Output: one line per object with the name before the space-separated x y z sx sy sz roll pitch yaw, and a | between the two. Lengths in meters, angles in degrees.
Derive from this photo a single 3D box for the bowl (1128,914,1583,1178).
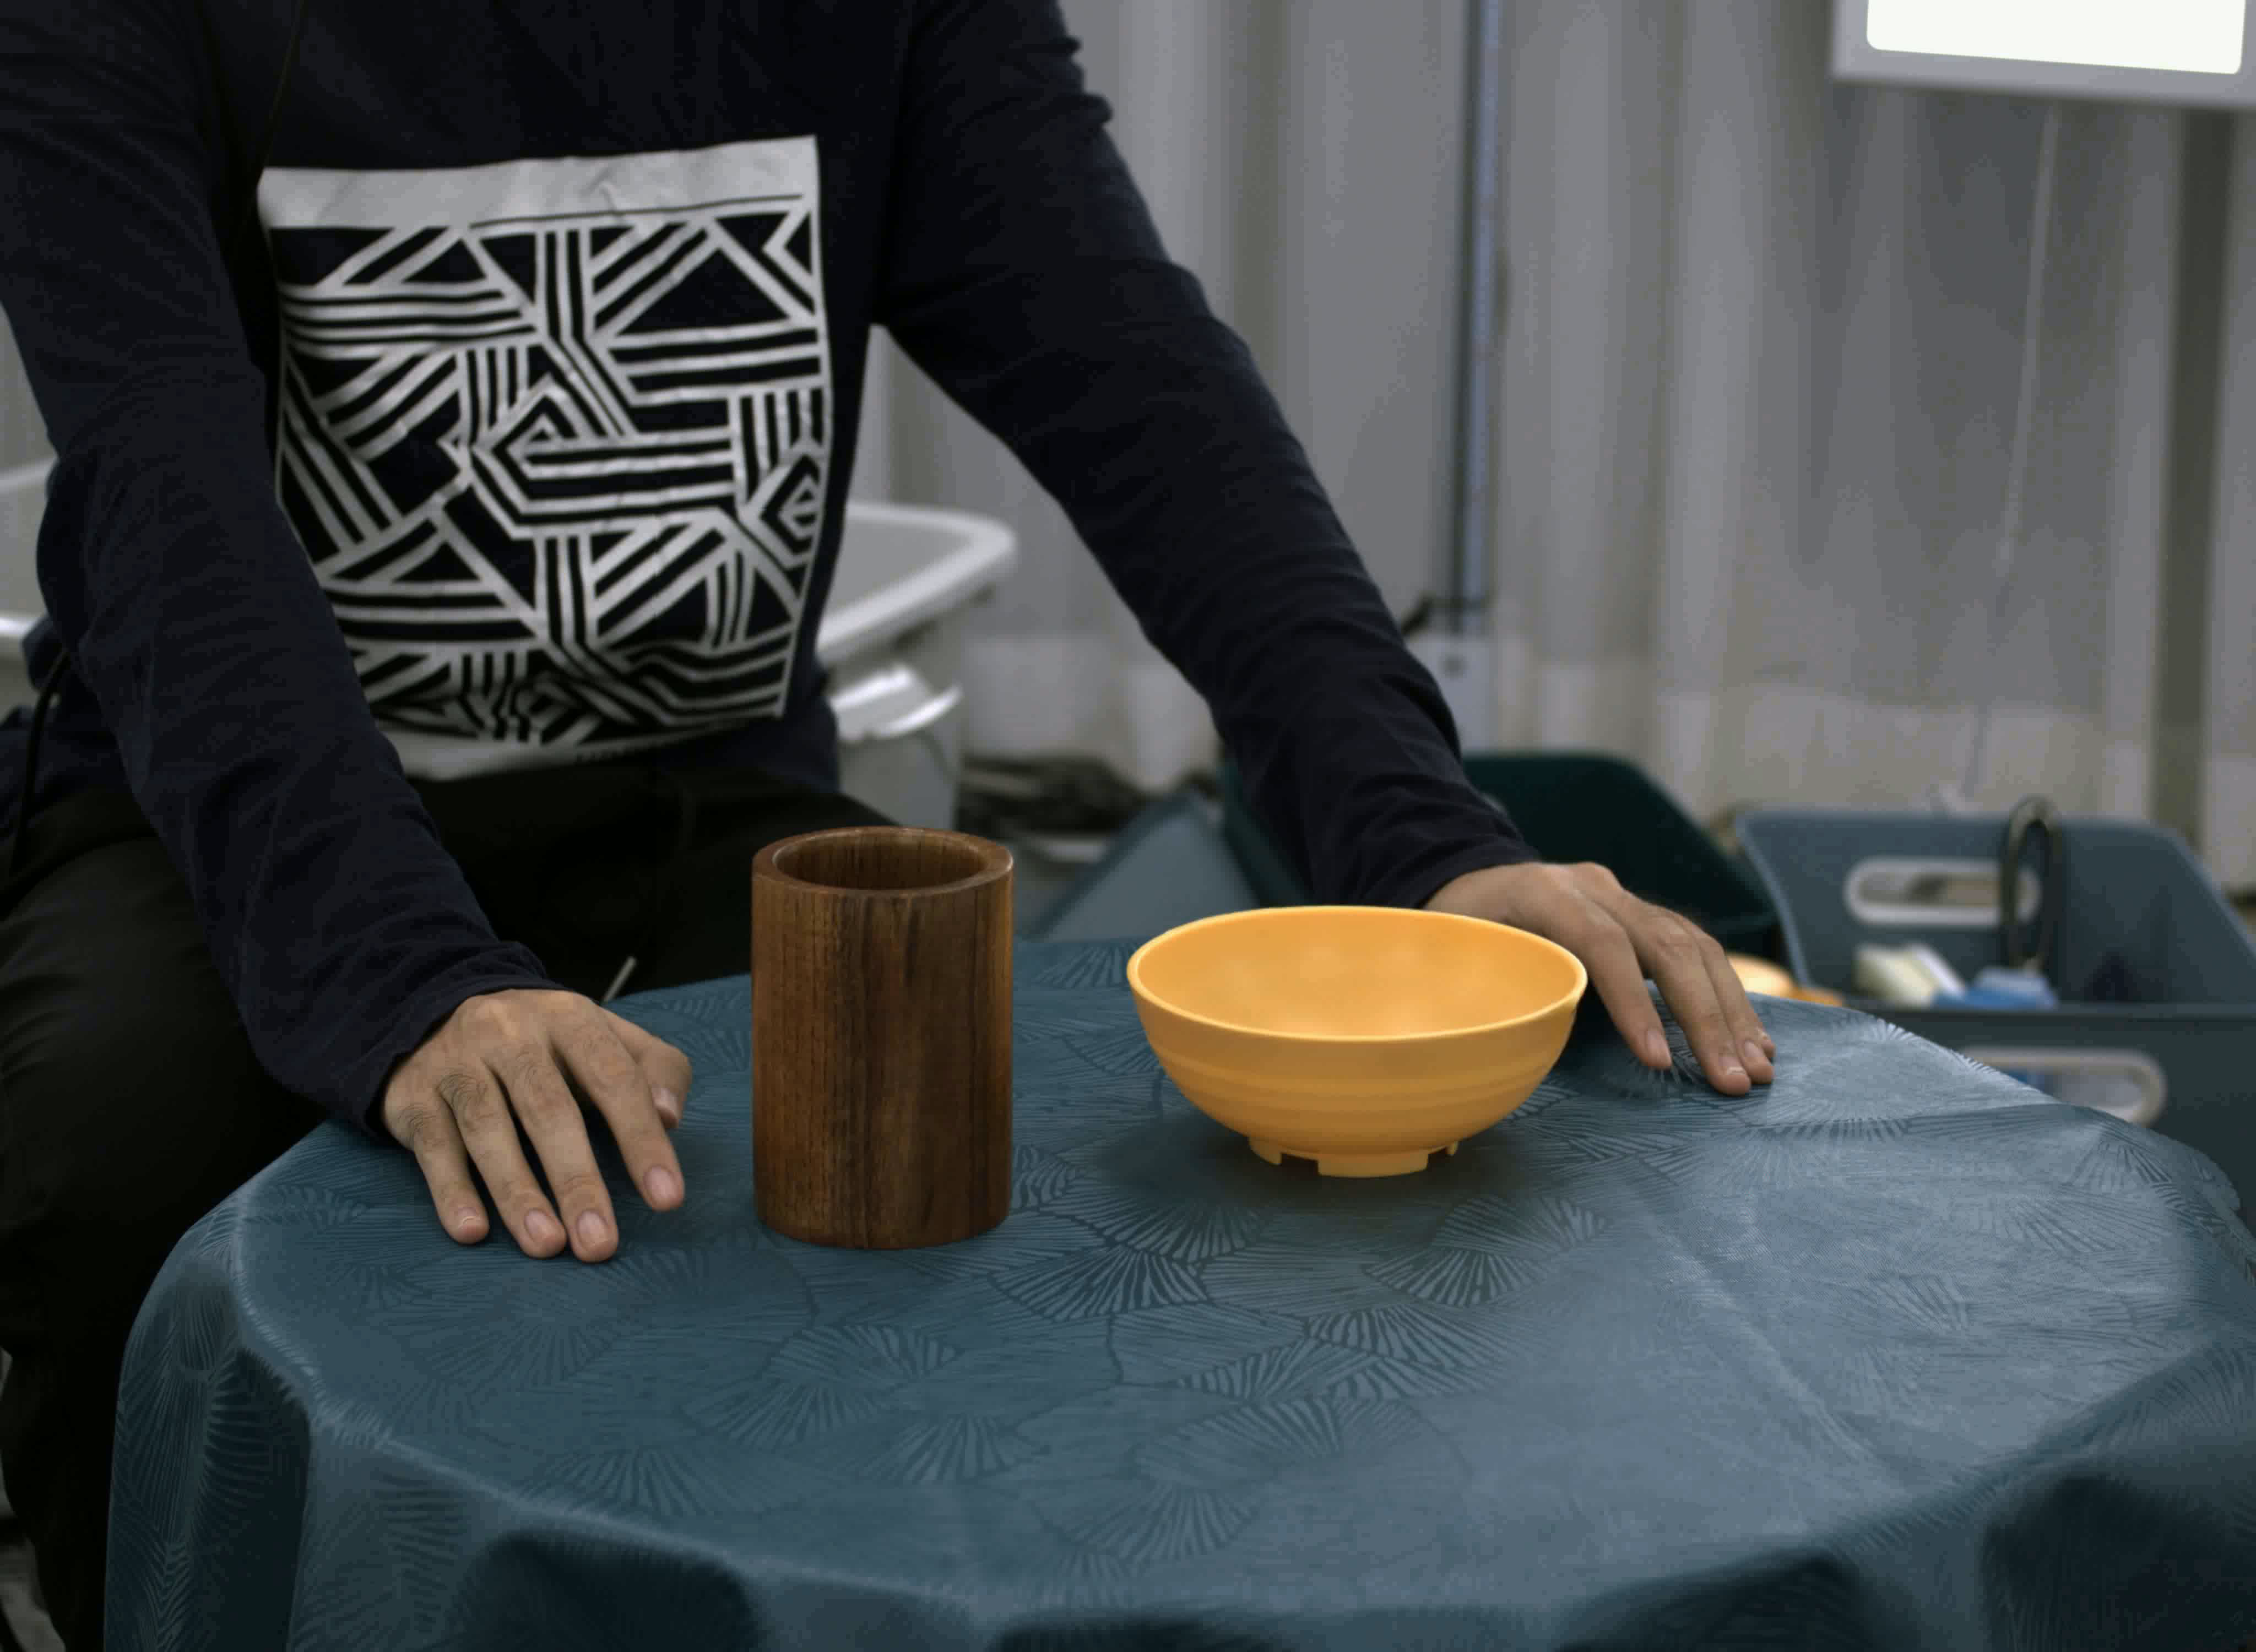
bowl | 0.071 0.073 1.662 0.145 0.060 0.144 1 14 0

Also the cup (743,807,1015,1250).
cup | -0.076 0.060 1.592 0.087 0.119 0.087 2 15 0
